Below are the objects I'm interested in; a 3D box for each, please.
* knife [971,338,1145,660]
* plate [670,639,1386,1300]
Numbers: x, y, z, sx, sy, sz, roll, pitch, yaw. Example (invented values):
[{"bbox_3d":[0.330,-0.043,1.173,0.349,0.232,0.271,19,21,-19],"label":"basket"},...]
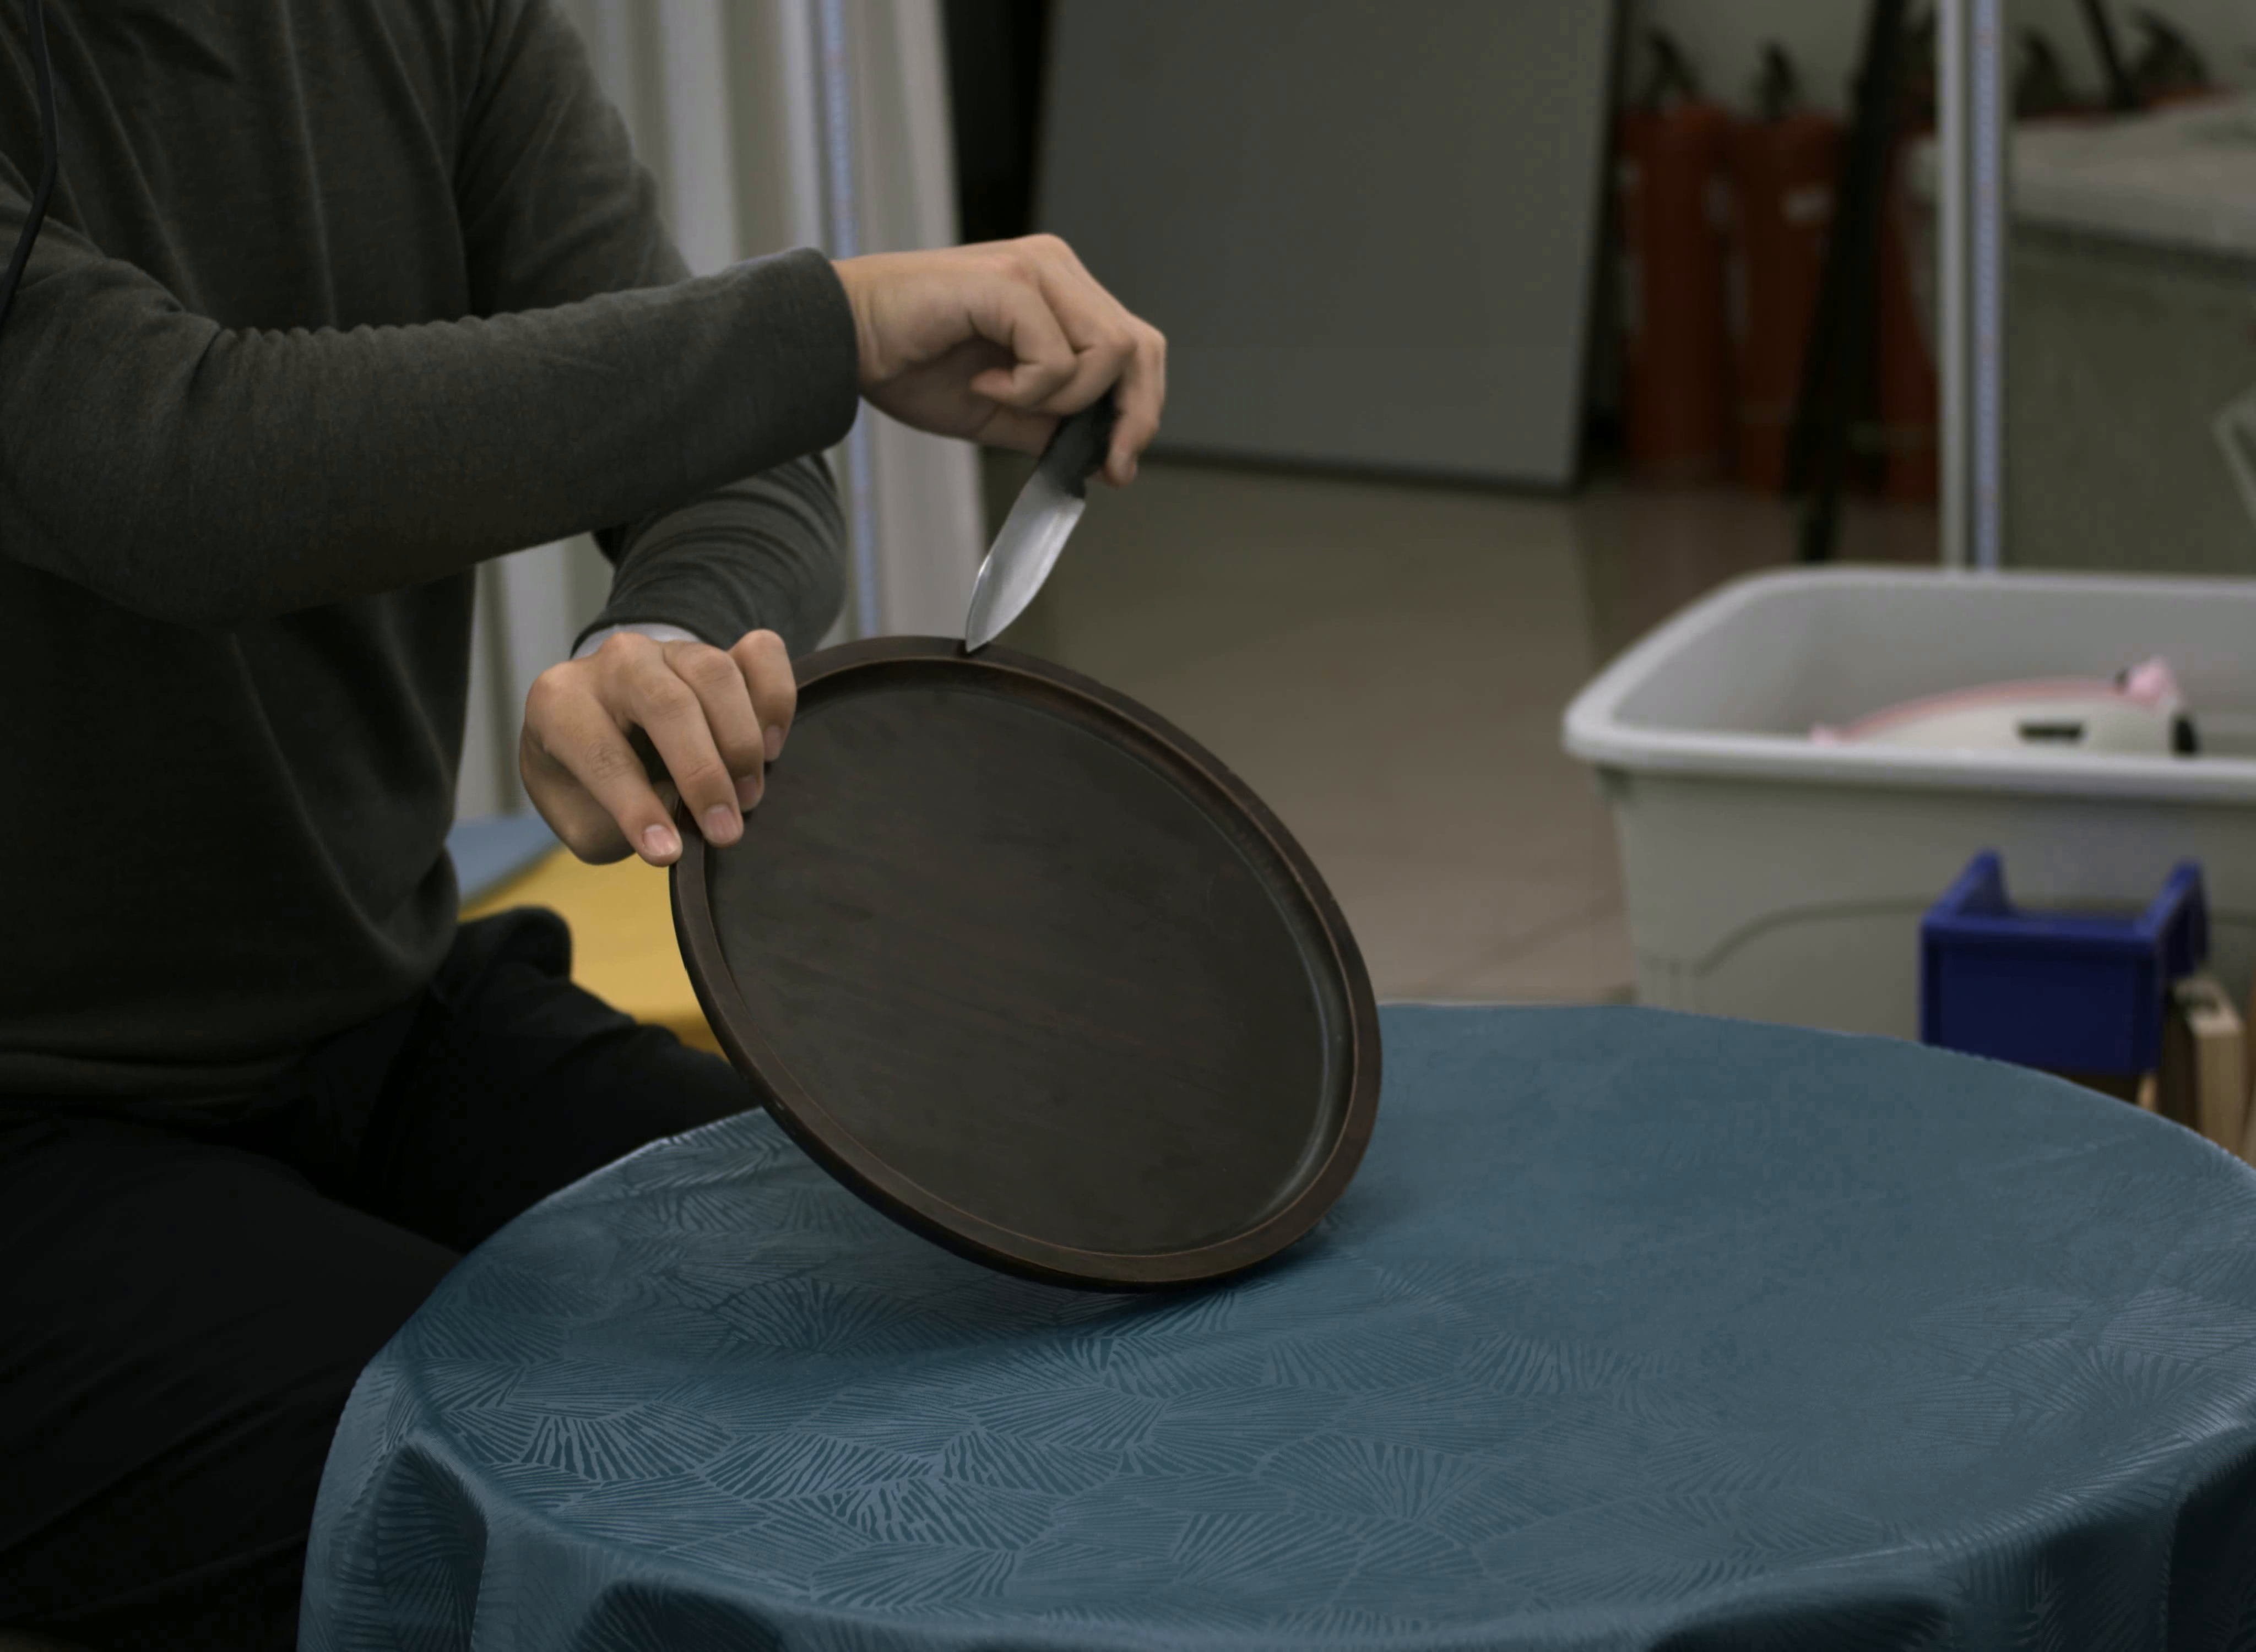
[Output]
[{"bbox_3d":[-0.028,-0.115,1.877,0.024,0.016,0.237,37,31,-9],"label":"knife"},{"bbox_3d":[-0.032,0.044,1.724,0.250,0.029,0.257,18,45,-19],"label":"plate"}]
